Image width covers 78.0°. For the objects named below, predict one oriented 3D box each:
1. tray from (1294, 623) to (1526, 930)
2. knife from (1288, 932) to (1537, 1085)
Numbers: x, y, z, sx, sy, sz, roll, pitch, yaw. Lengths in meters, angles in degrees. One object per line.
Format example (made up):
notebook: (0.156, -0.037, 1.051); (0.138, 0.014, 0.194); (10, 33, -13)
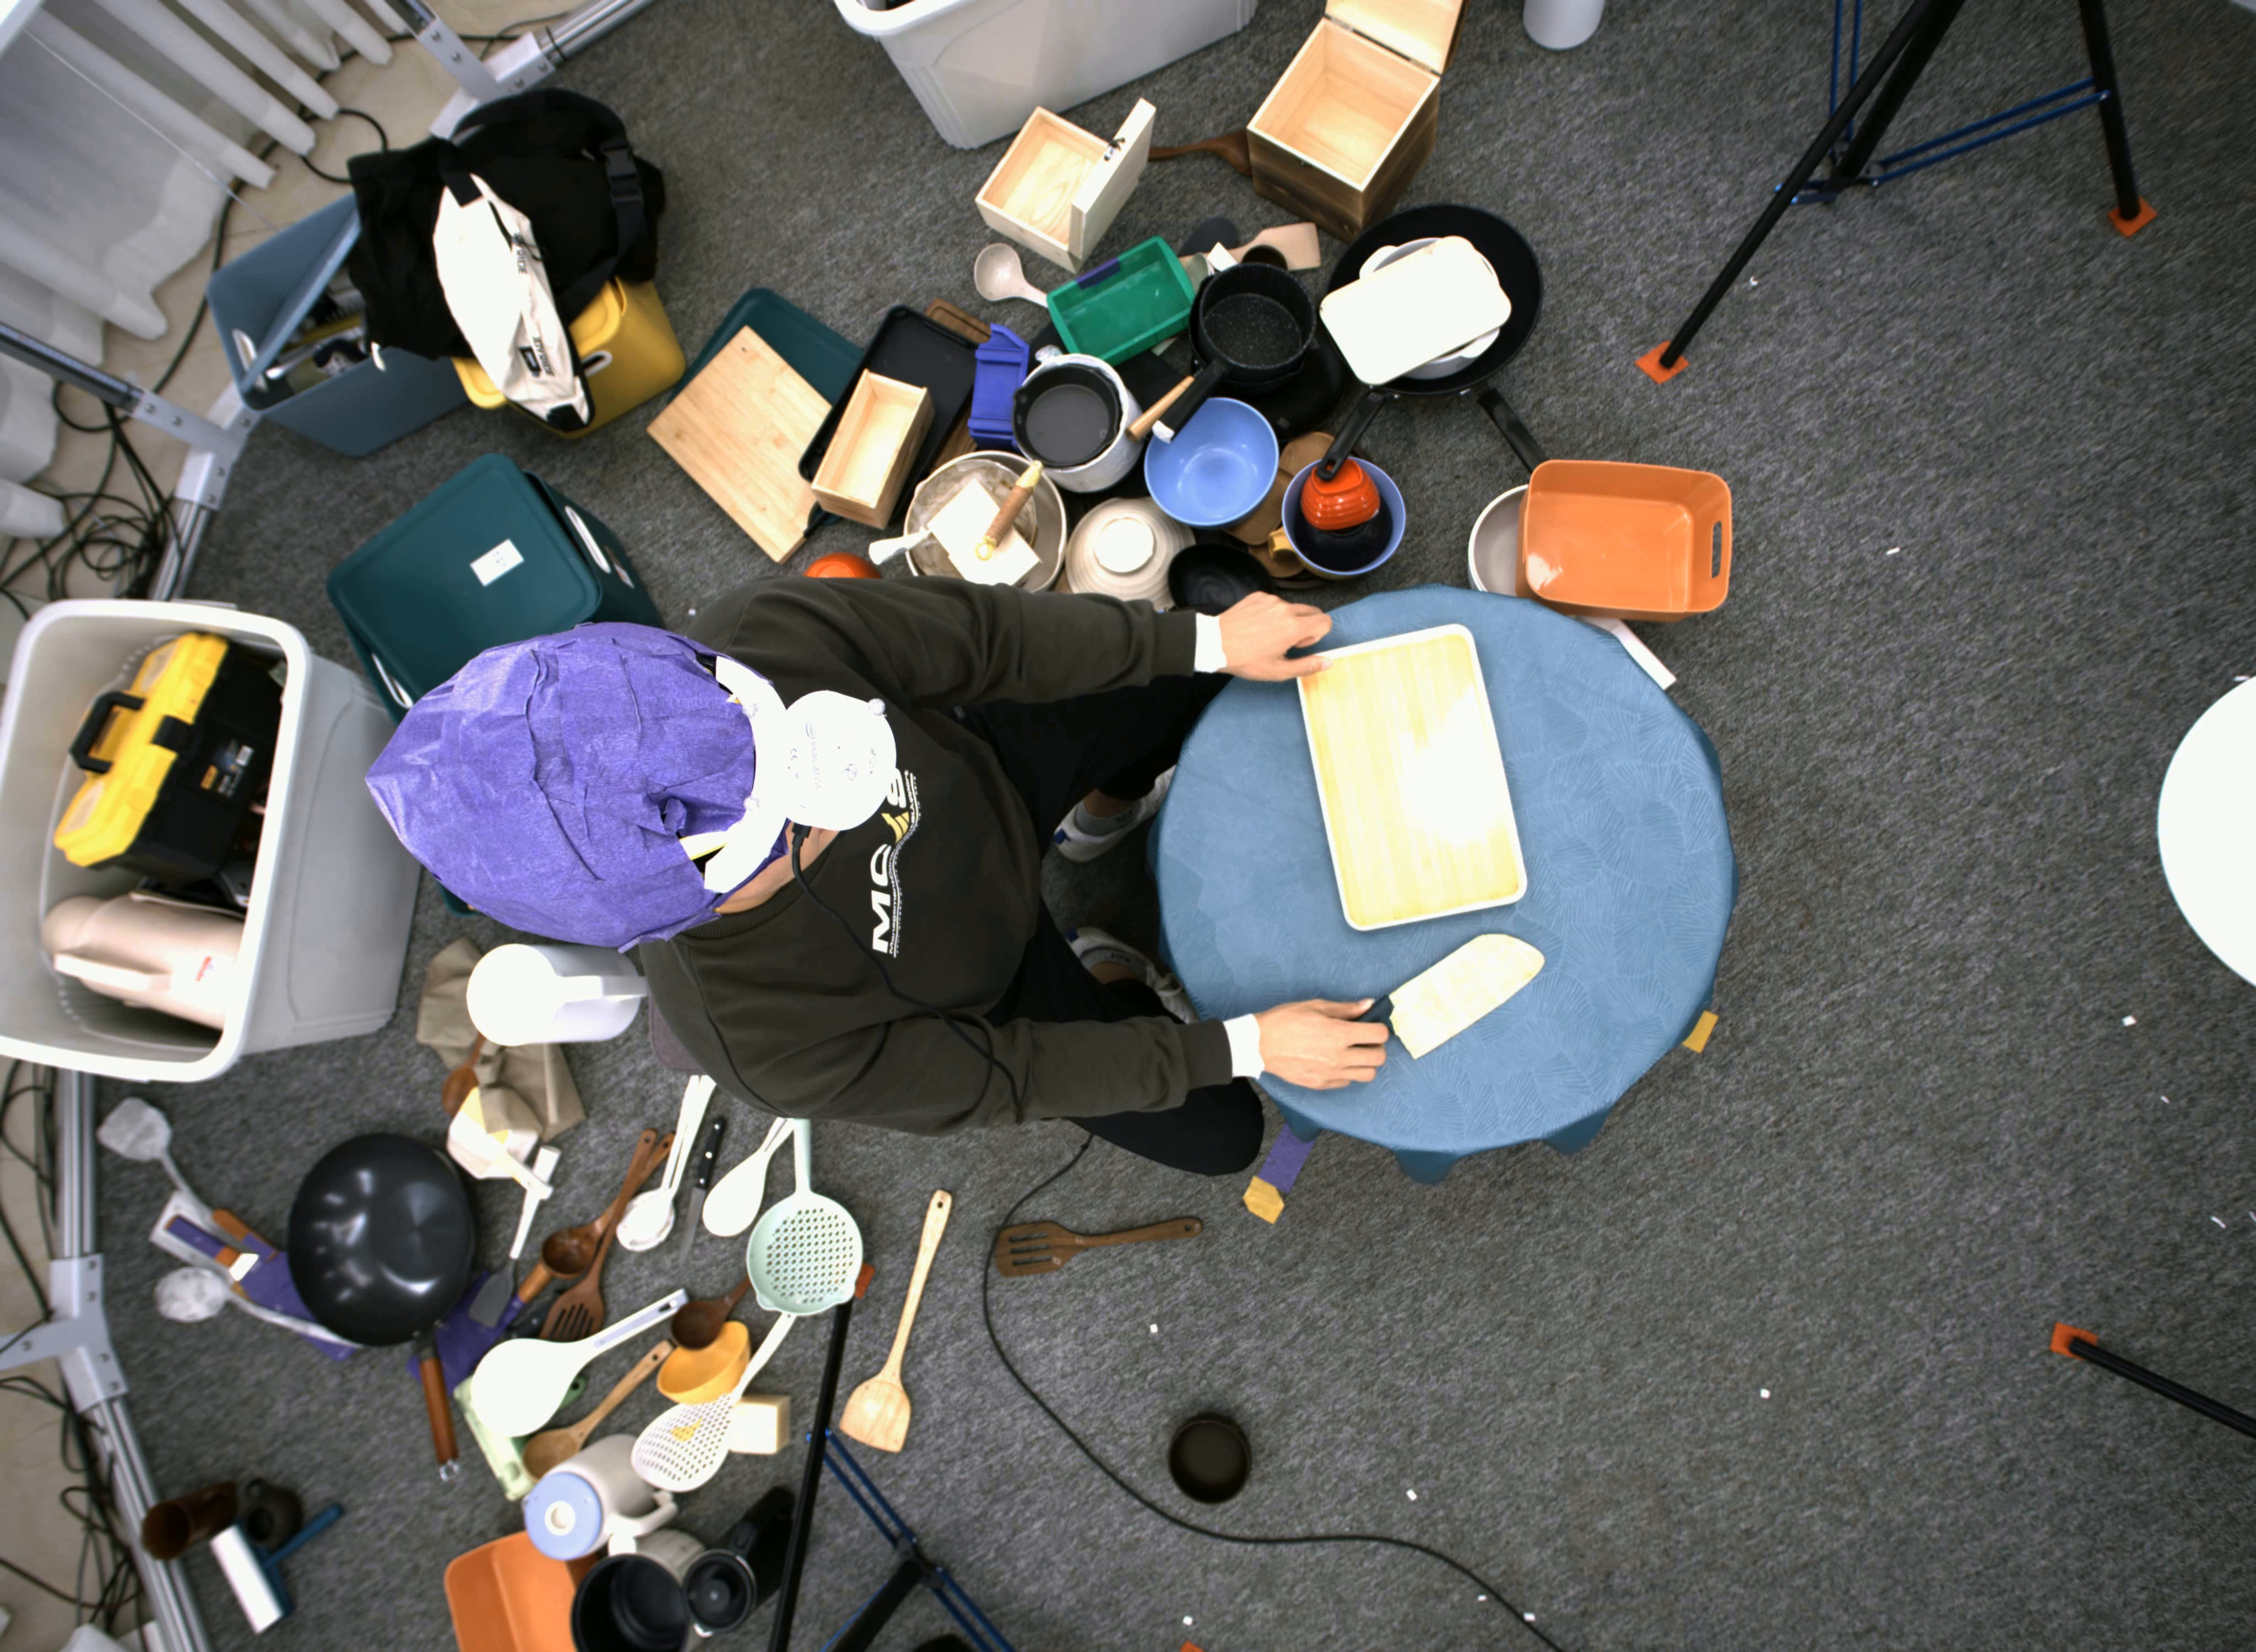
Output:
tray: (0.294, -0.053, 1.449); (0.192, 0.027, 0.298); (-11, 85, 11)
knife: (0.298, 0.196, 1.437); (0.291, 0.027, 0.081); (-31, 91, 7)
